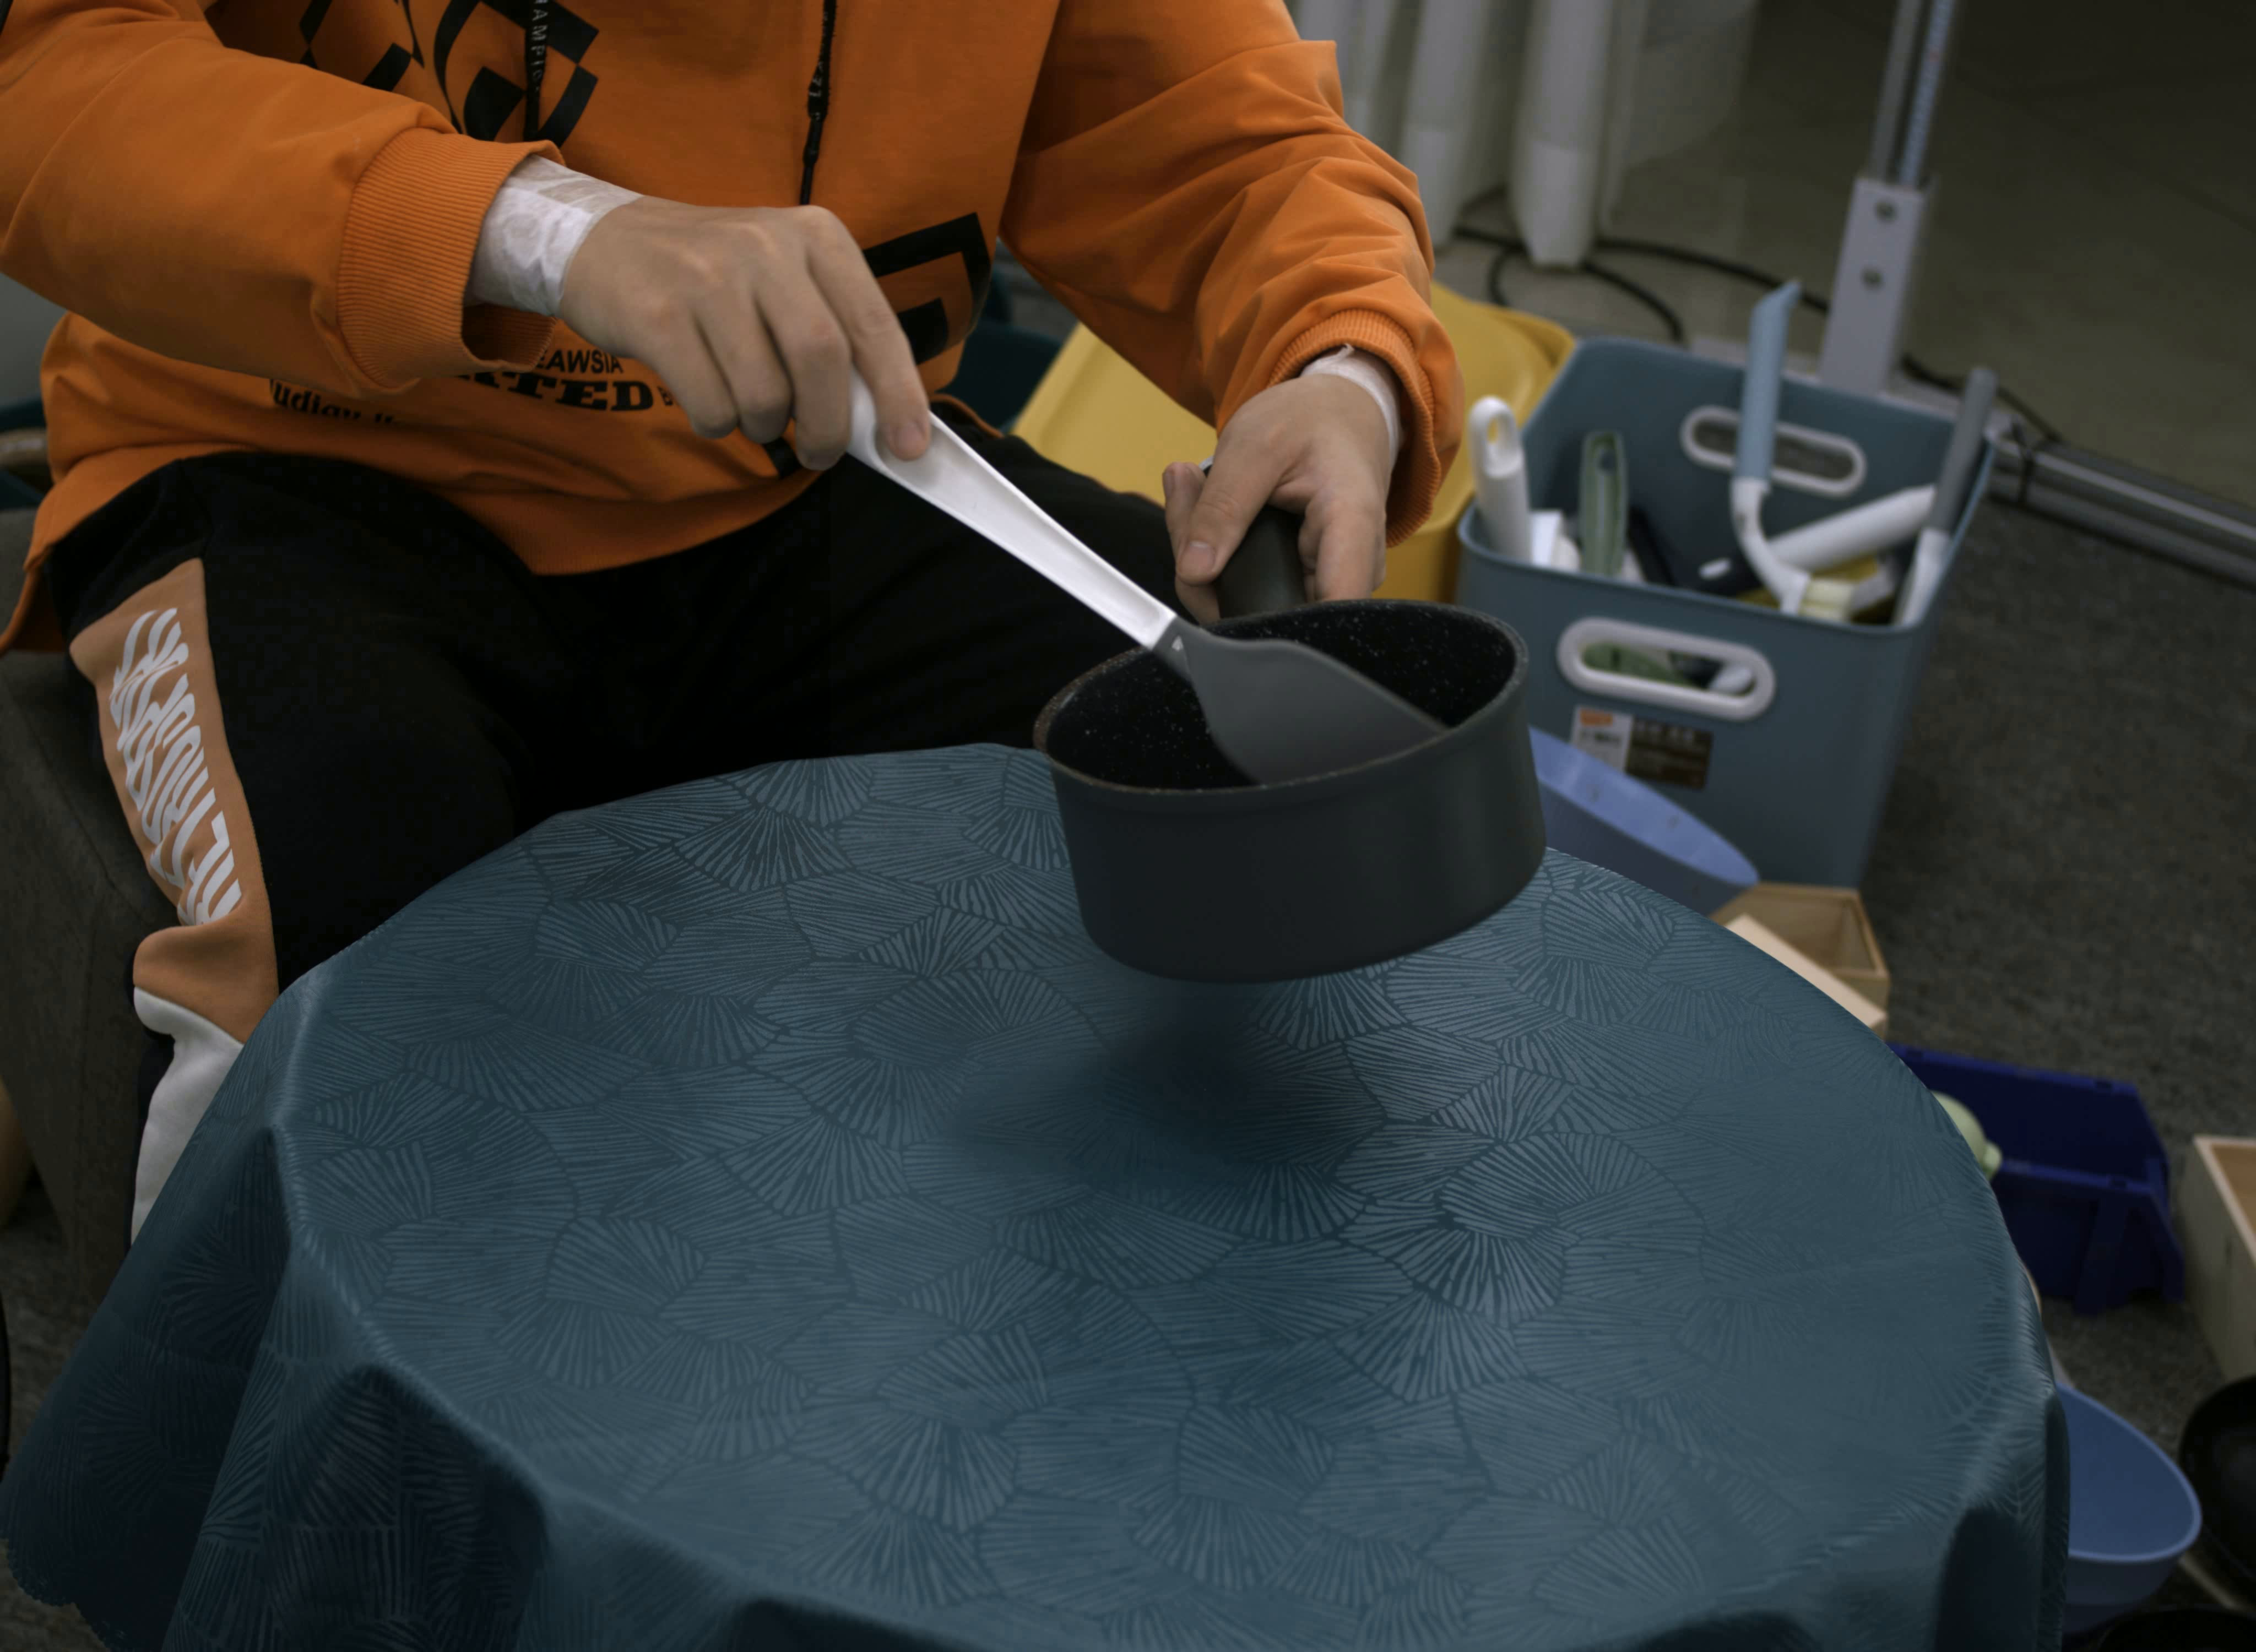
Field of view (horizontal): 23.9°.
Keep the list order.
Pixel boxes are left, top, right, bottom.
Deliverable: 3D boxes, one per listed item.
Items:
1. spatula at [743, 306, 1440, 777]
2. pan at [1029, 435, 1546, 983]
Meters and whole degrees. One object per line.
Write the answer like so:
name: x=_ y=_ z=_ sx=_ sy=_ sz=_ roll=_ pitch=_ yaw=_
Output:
spatula: x=-0.011 y=-0.085 z=1.822 sx=0.288 sy=0.059 sz=0.032 roll=36 pitch=0 yaw=12
pan: x=0.056 y=-0.046 z=1.897 sx=0.171 sy=0.086 sz=0.330 roll=-9 pitch=23 yaw=4
